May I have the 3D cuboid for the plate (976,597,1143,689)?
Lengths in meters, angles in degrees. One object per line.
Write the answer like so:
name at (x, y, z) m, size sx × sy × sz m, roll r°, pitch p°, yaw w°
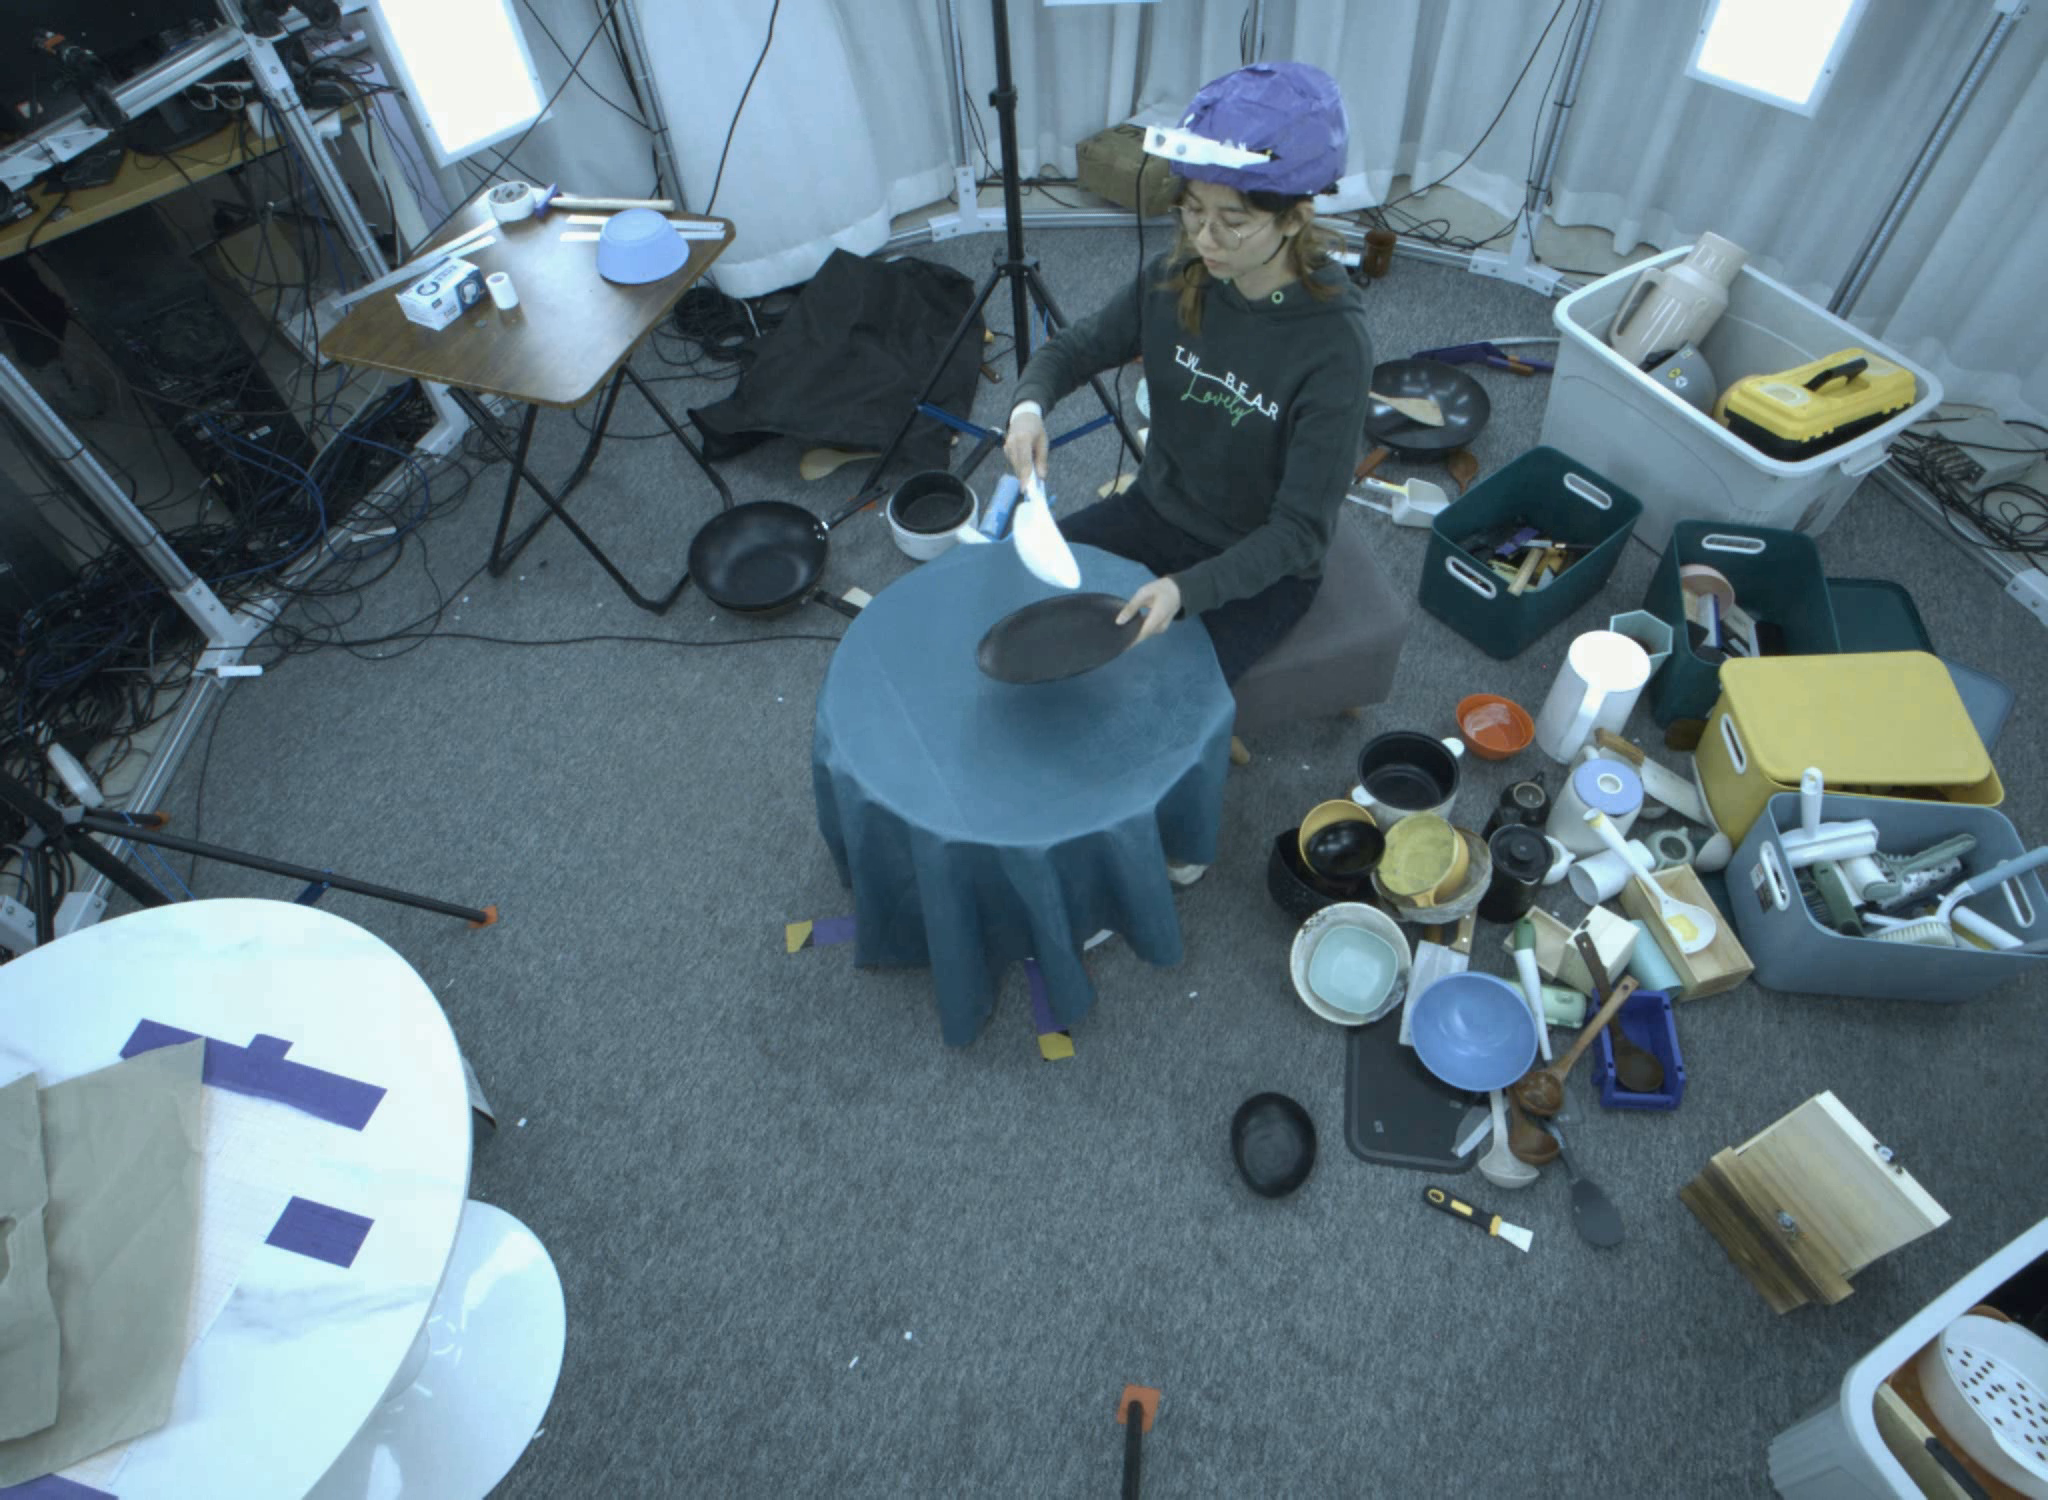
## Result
plate at (0.051, -0.149, 1.748) m, size 0.243 × 0.024 × 0.242 m, roll -10°, pitch 34°, yaw 8°

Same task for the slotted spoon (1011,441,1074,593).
slotted spoon at (0.017, -0.346, 1.750) m, size 0.045 × 0.139 × 0.346 m, roll -25°, pitch 42°, yaw 26°
